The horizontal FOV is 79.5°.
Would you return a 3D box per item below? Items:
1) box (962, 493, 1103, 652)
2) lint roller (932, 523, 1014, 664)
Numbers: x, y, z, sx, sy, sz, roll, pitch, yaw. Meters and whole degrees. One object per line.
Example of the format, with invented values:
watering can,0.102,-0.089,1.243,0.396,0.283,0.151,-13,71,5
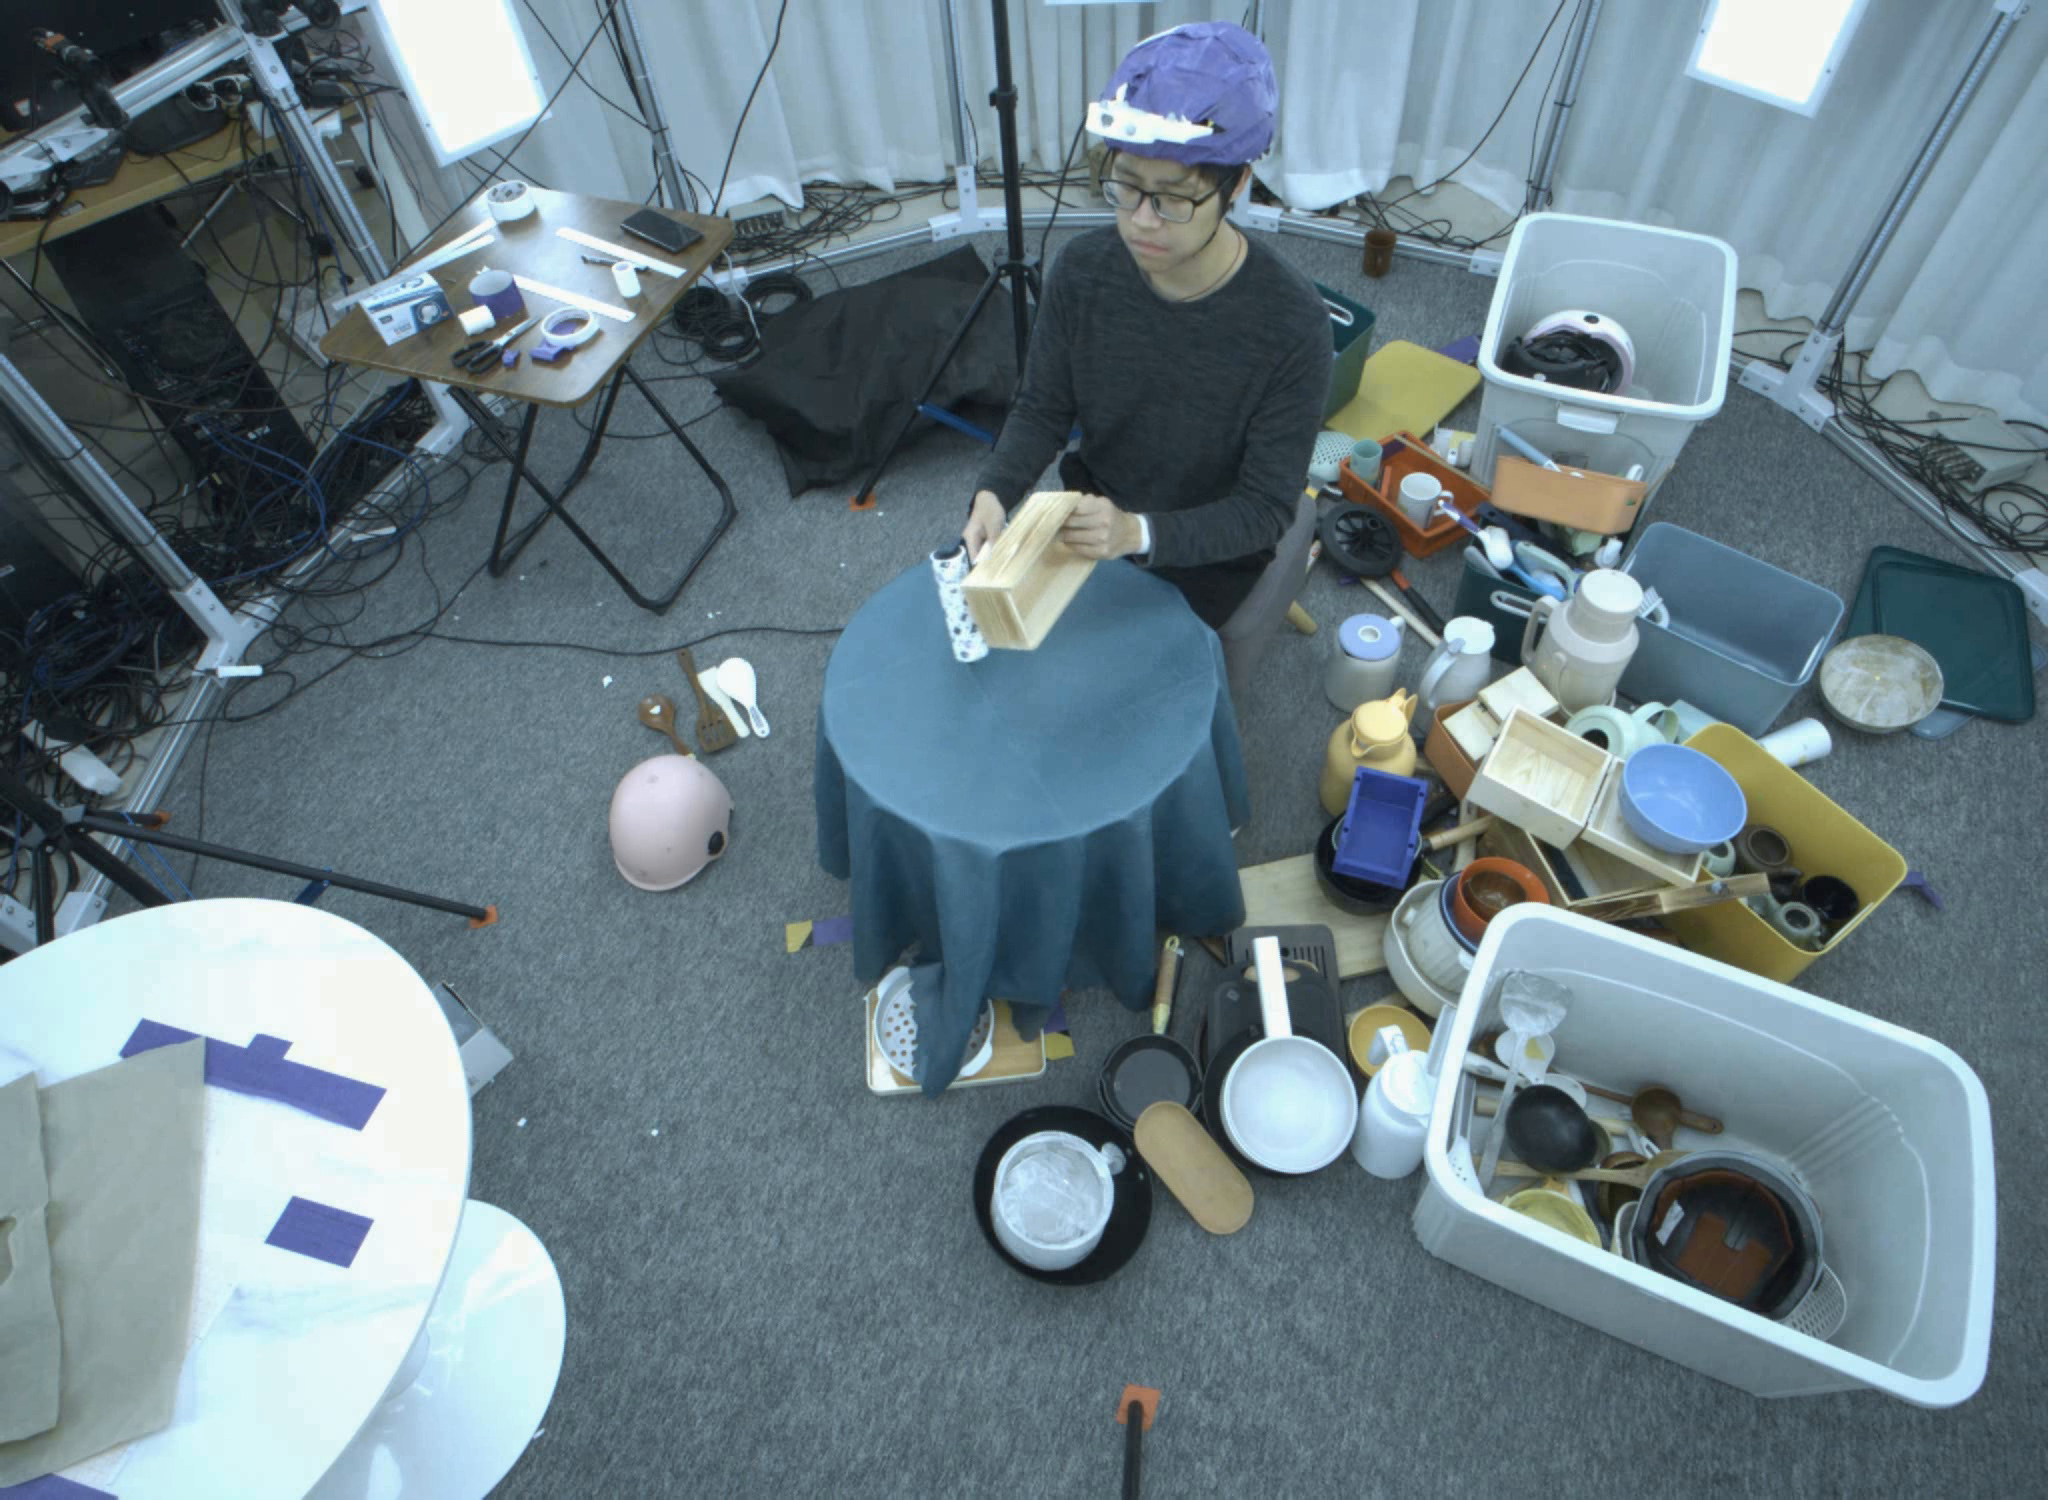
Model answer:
box,0.015,-0.244,1.659,0.078,0.109,0.212,8,50,32
lint roller,-0.064,-0.260,1.760,0.050,0.179,0.246,-2,37,17
